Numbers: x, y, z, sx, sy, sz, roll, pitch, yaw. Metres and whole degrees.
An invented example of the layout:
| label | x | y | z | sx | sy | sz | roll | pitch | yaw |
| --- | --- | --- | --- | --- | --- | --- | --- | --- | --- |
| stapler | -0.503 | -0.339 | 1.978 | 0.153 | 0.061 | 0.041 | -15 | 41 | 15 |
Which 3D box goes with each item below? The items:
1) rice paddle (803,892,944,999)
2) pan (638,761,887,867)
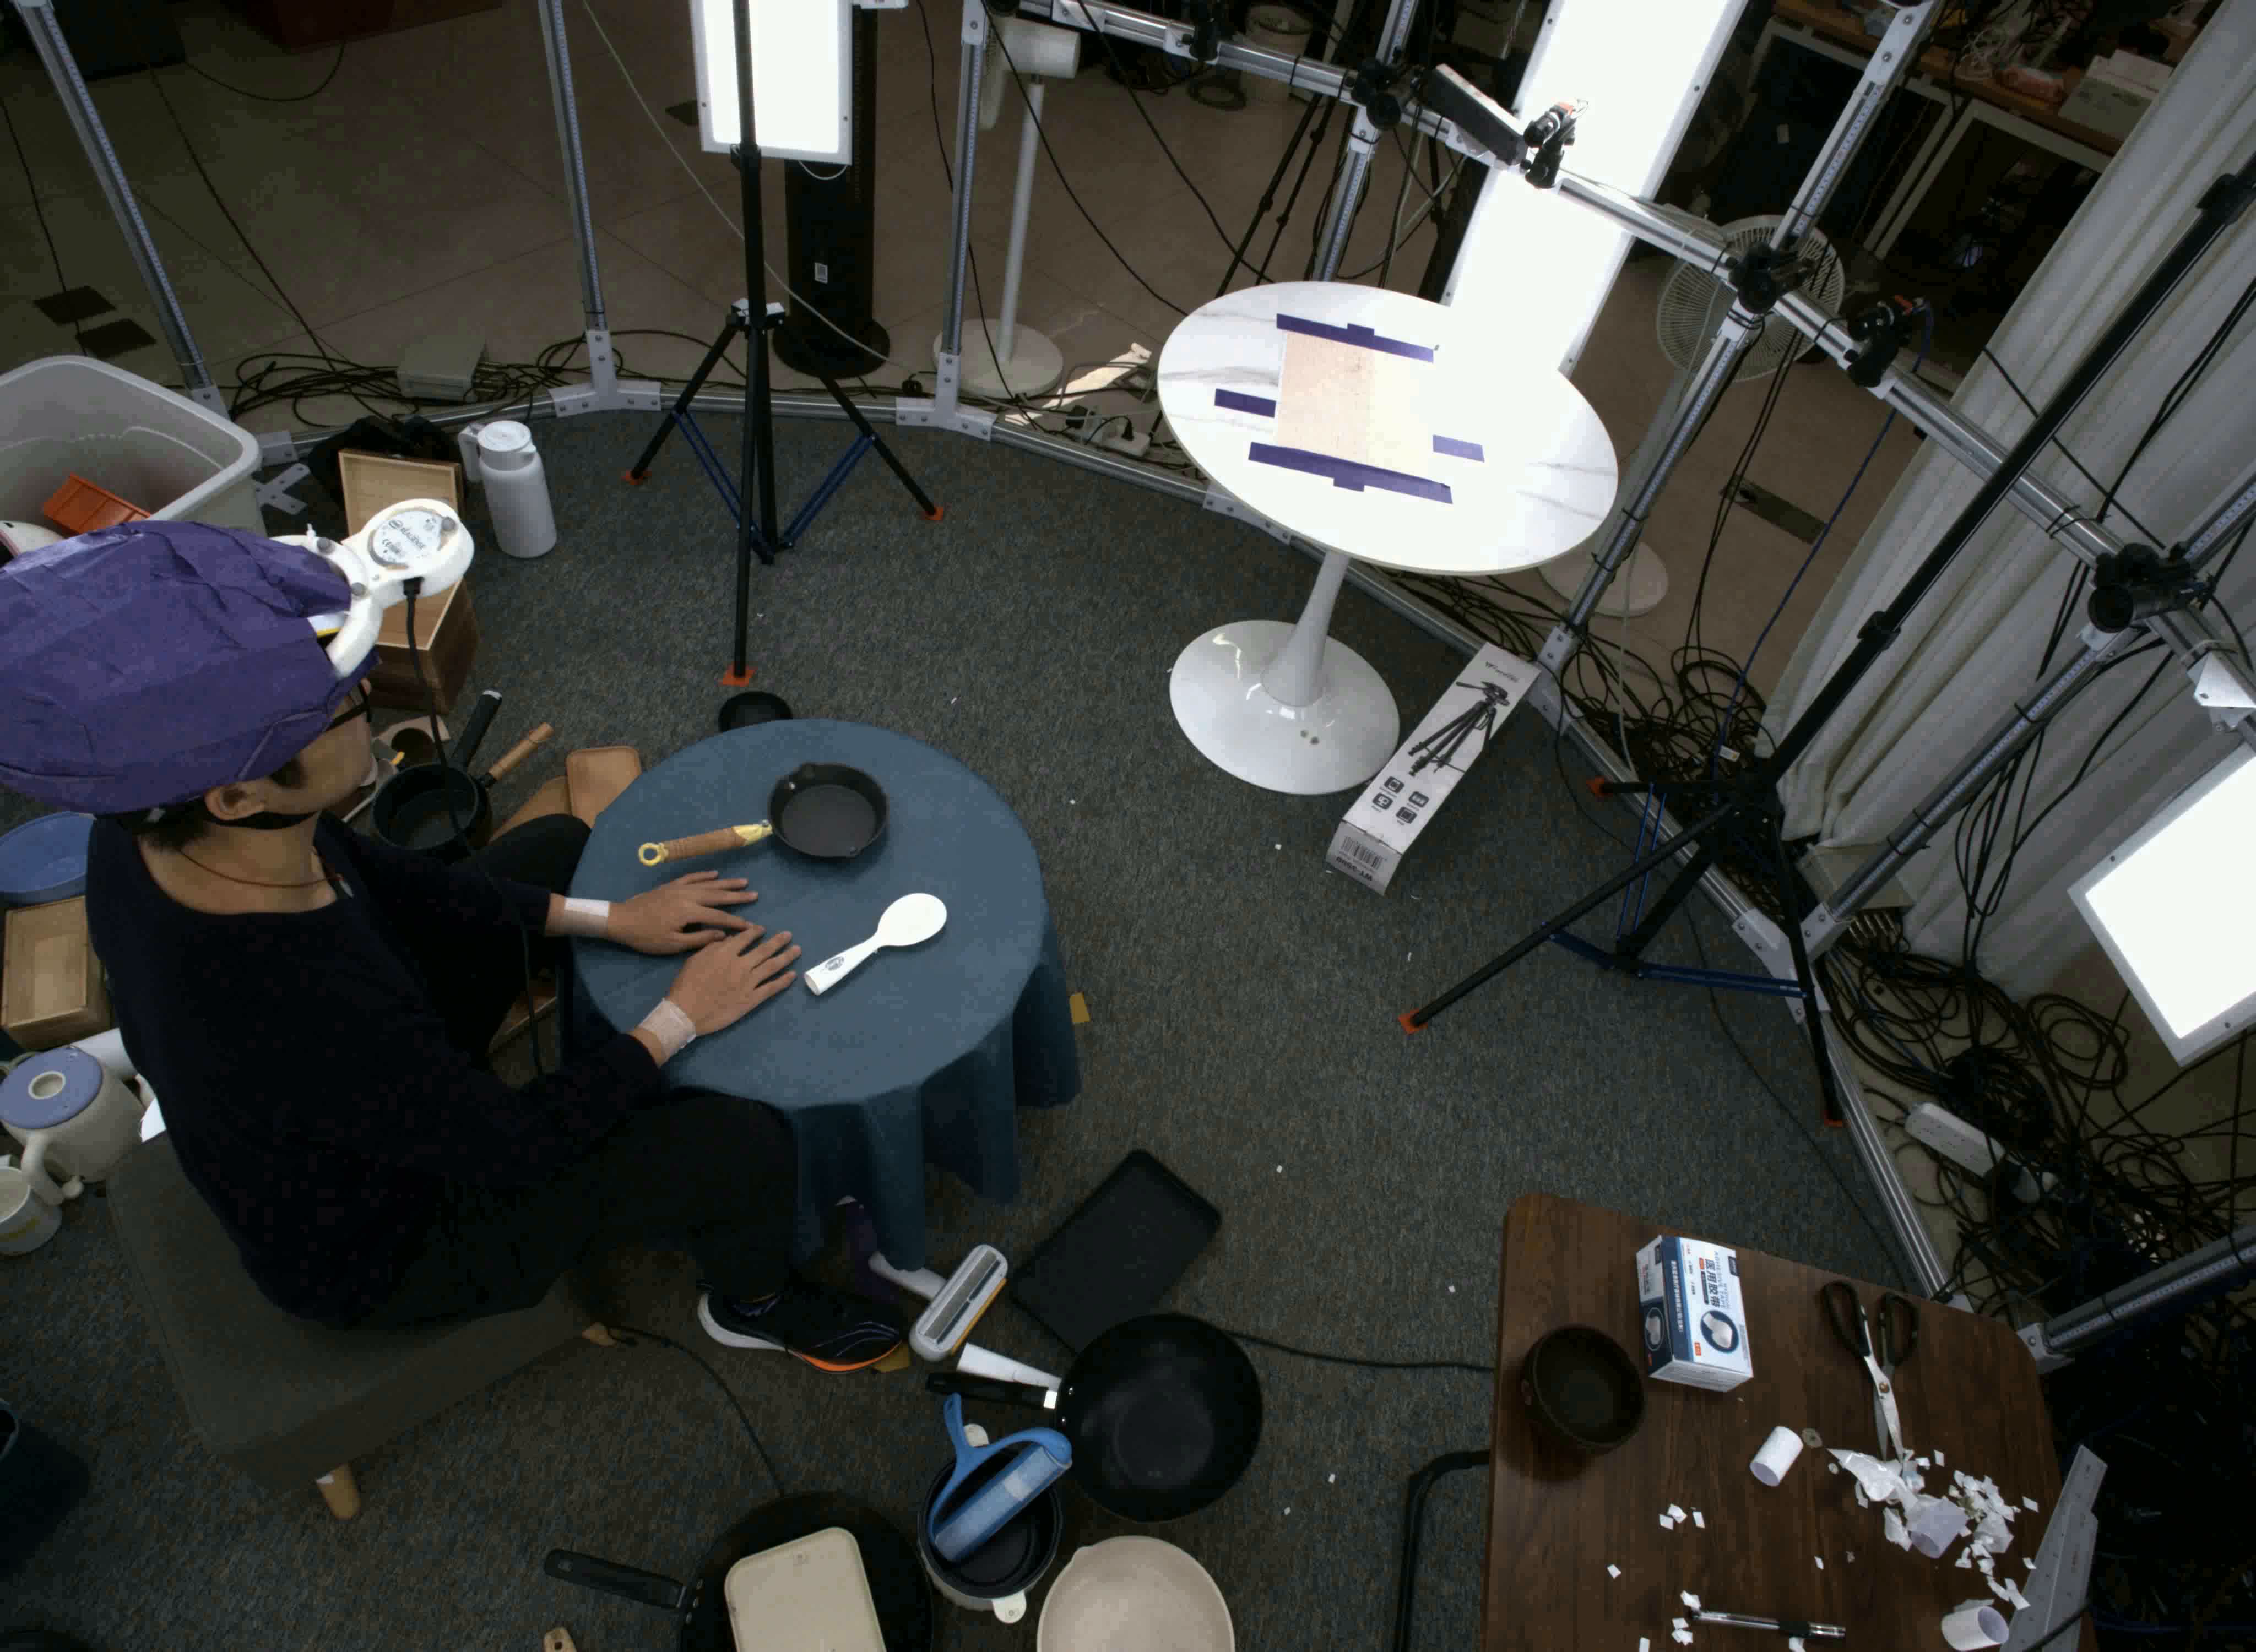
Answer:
| label | x | y | z | sx | sy | sz | roll | pitch | yaw |
| --- | --- | --- | --- | --- | --- | --- | --- | --- | --- |
| rice paddle | -0.313 | 0.143 | 1.618 | 0.067 | 0.030 | 0.206 | 43 | 56 | 16 |
| pan | -0.469 | 0.002 | 1.667 | 0.326 | 0.050 | 0.165 | -16 | 59 | -27 |
